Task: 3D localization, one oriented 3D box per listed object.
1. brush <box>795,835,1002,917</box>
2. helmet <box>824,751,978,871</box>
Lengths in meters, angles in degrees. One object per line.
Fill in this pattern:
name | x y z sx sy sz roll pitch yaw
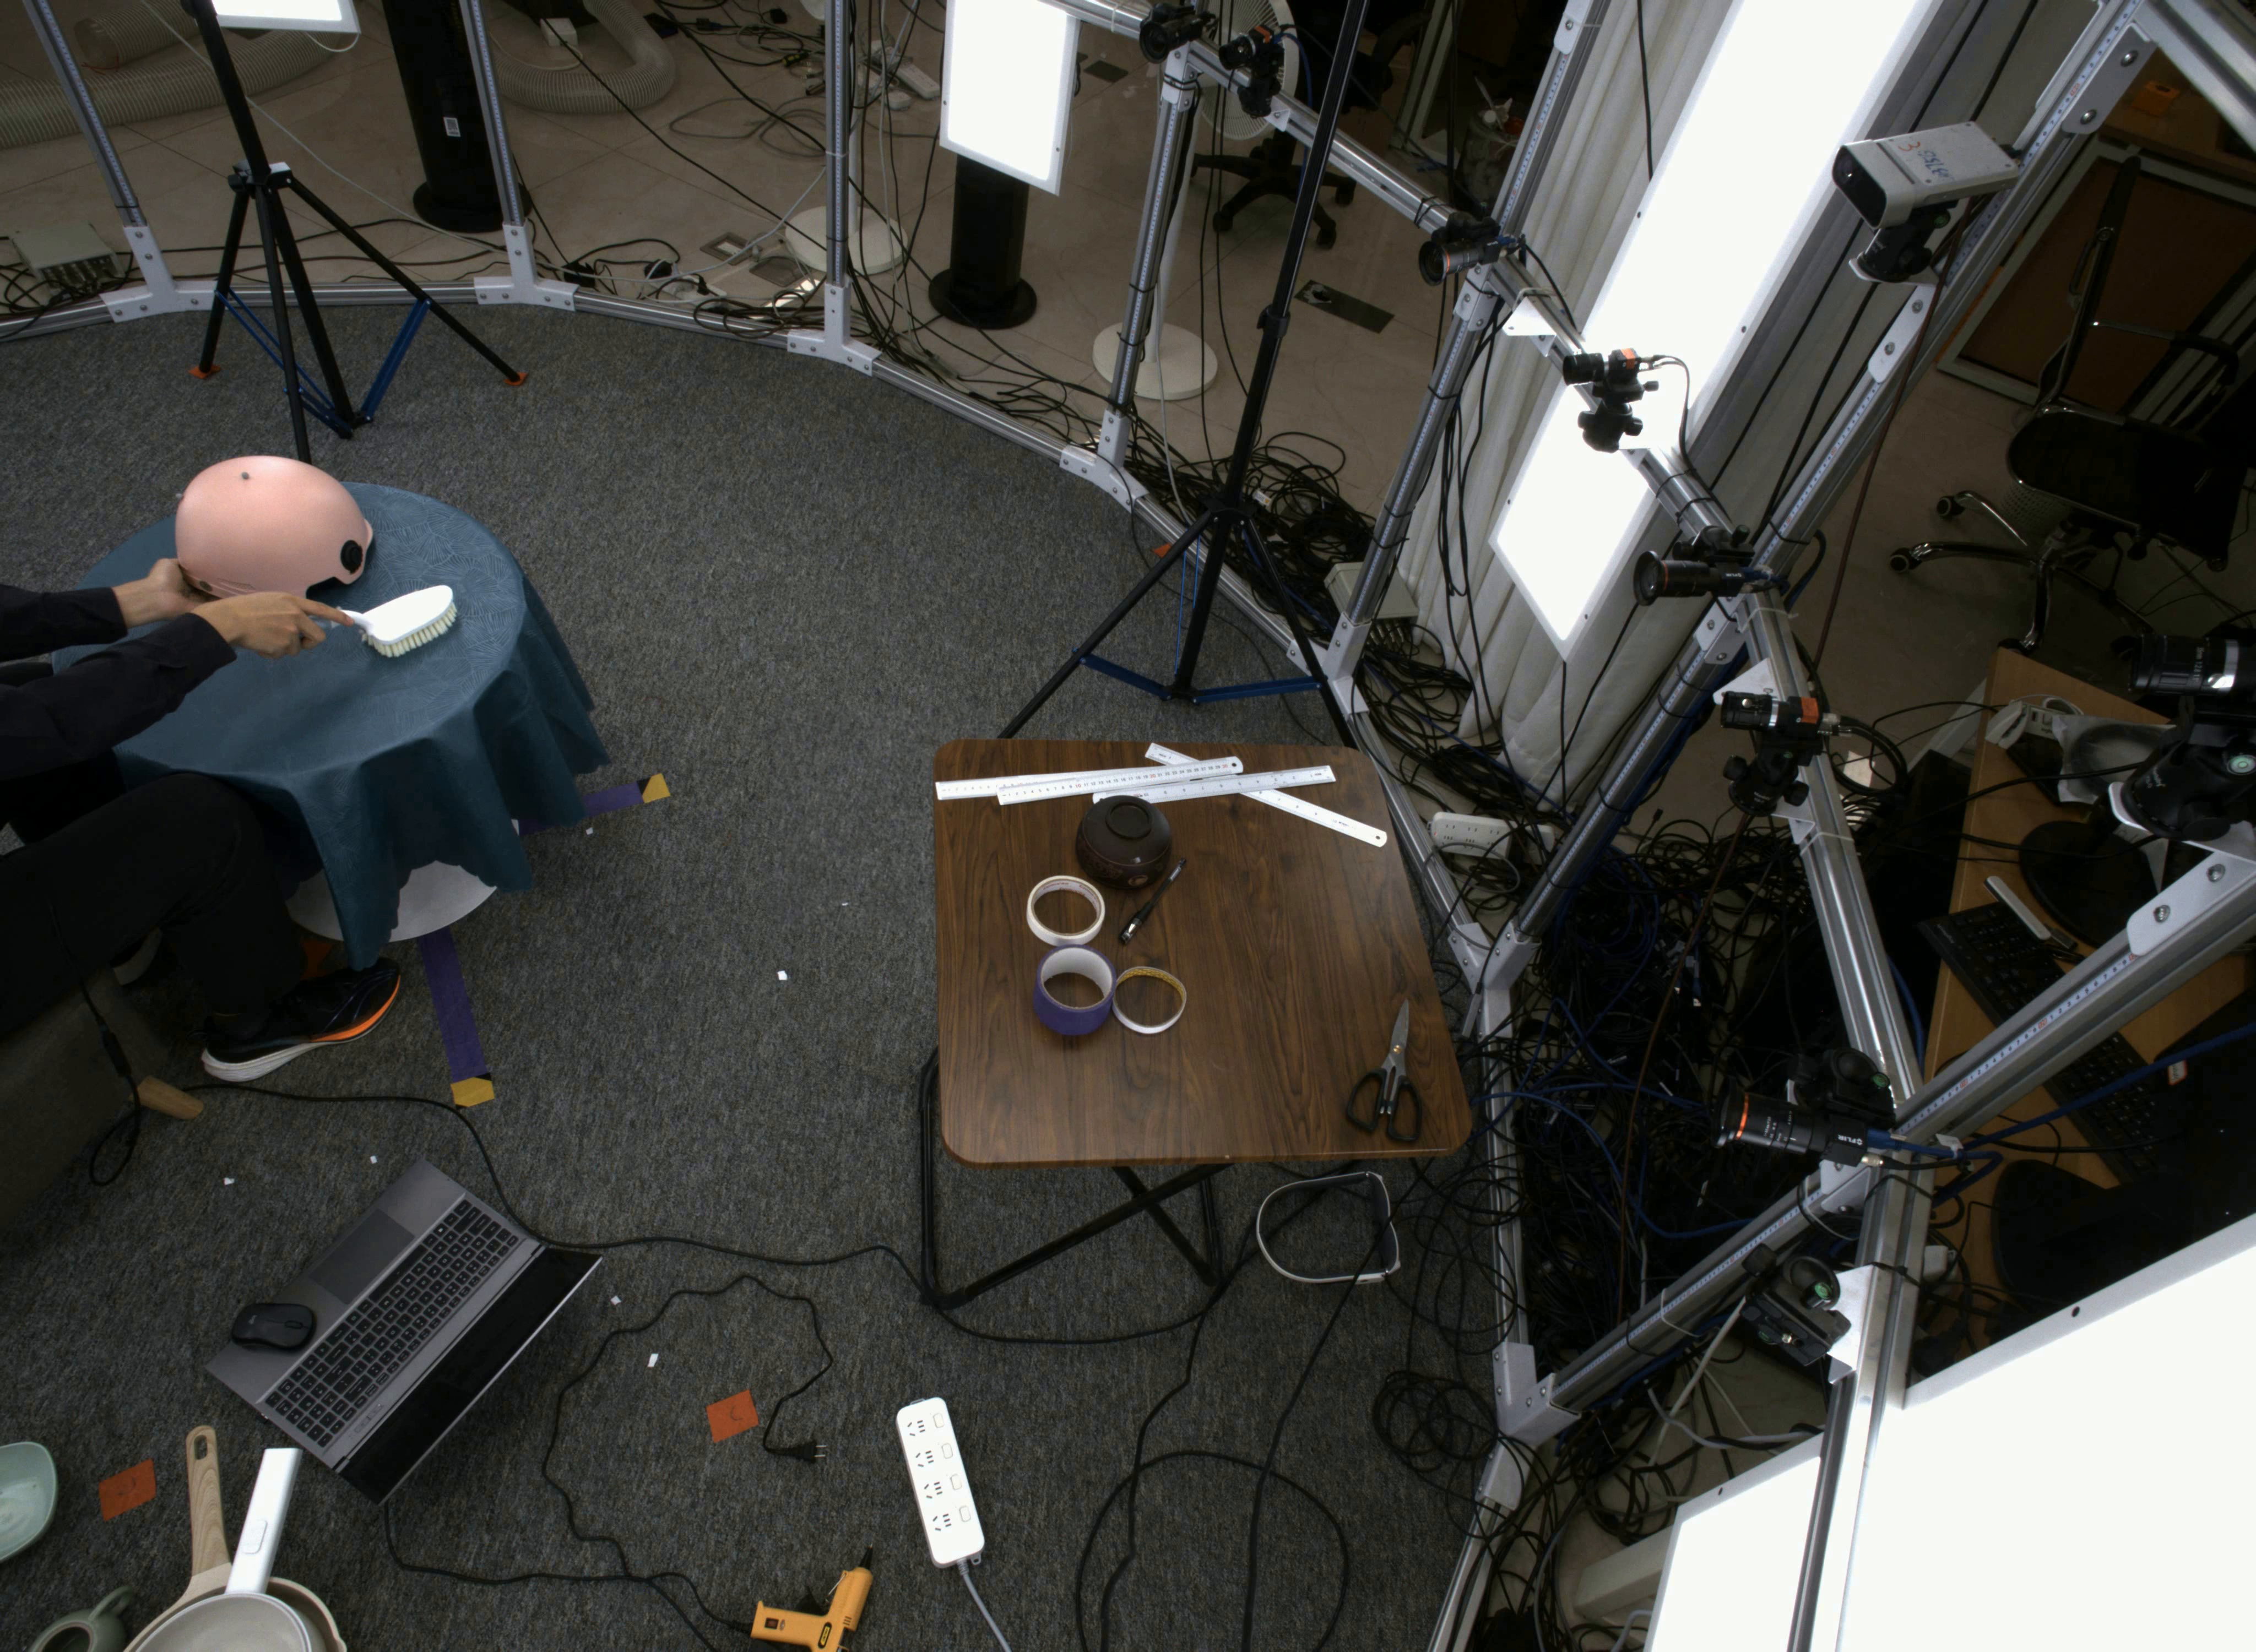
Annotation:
brush | -0.343 0.085 1.941 0.331 0.084 0.081 12 -17 -29
helmet | -0.365 -0.039 2.146 0.270 0.162 0.225 -4 24 -40
